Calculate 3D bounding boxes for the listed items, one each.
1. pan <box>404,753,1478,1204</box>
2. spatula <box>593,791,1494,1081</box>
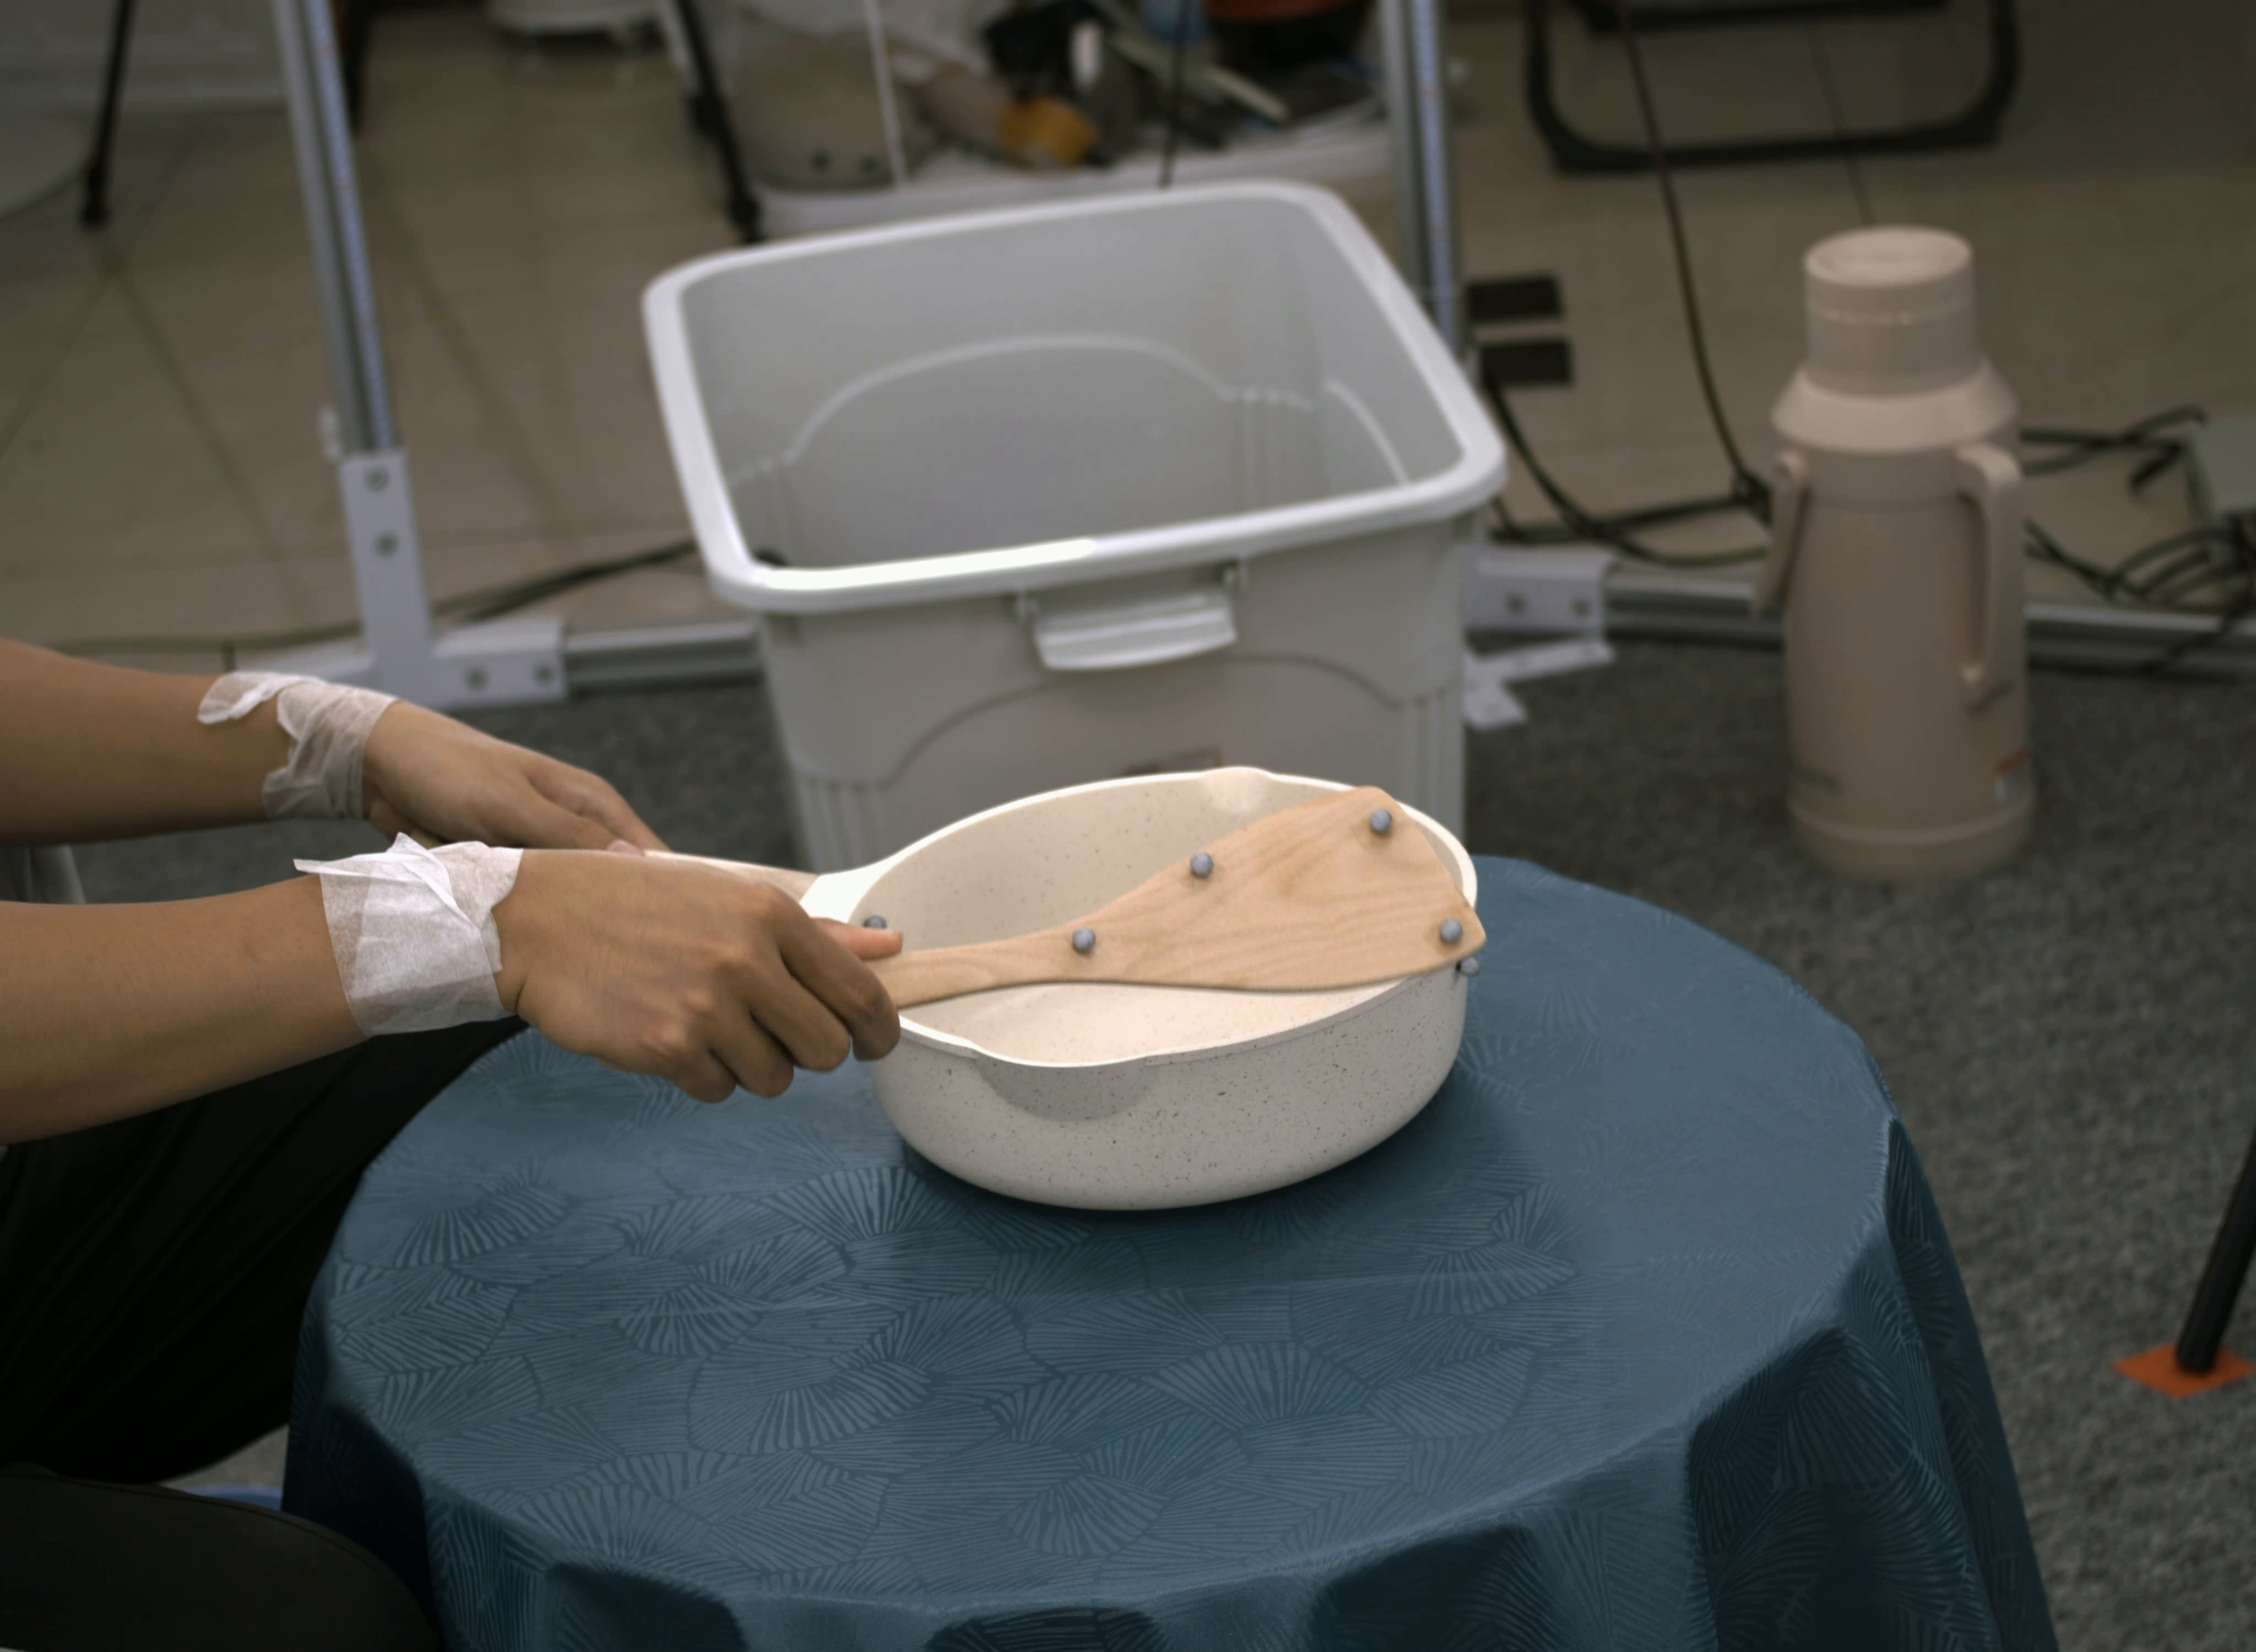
[{"bbox_3d":[-0.075,0.055,2.229,0.434,0.103,0.259,2,28,17],"label":"pan"},{"bbox_3d":[-0.031,0.047,1.989,0.326,0.017,0.079,-10,64,-21],"label":"spatula"}]
